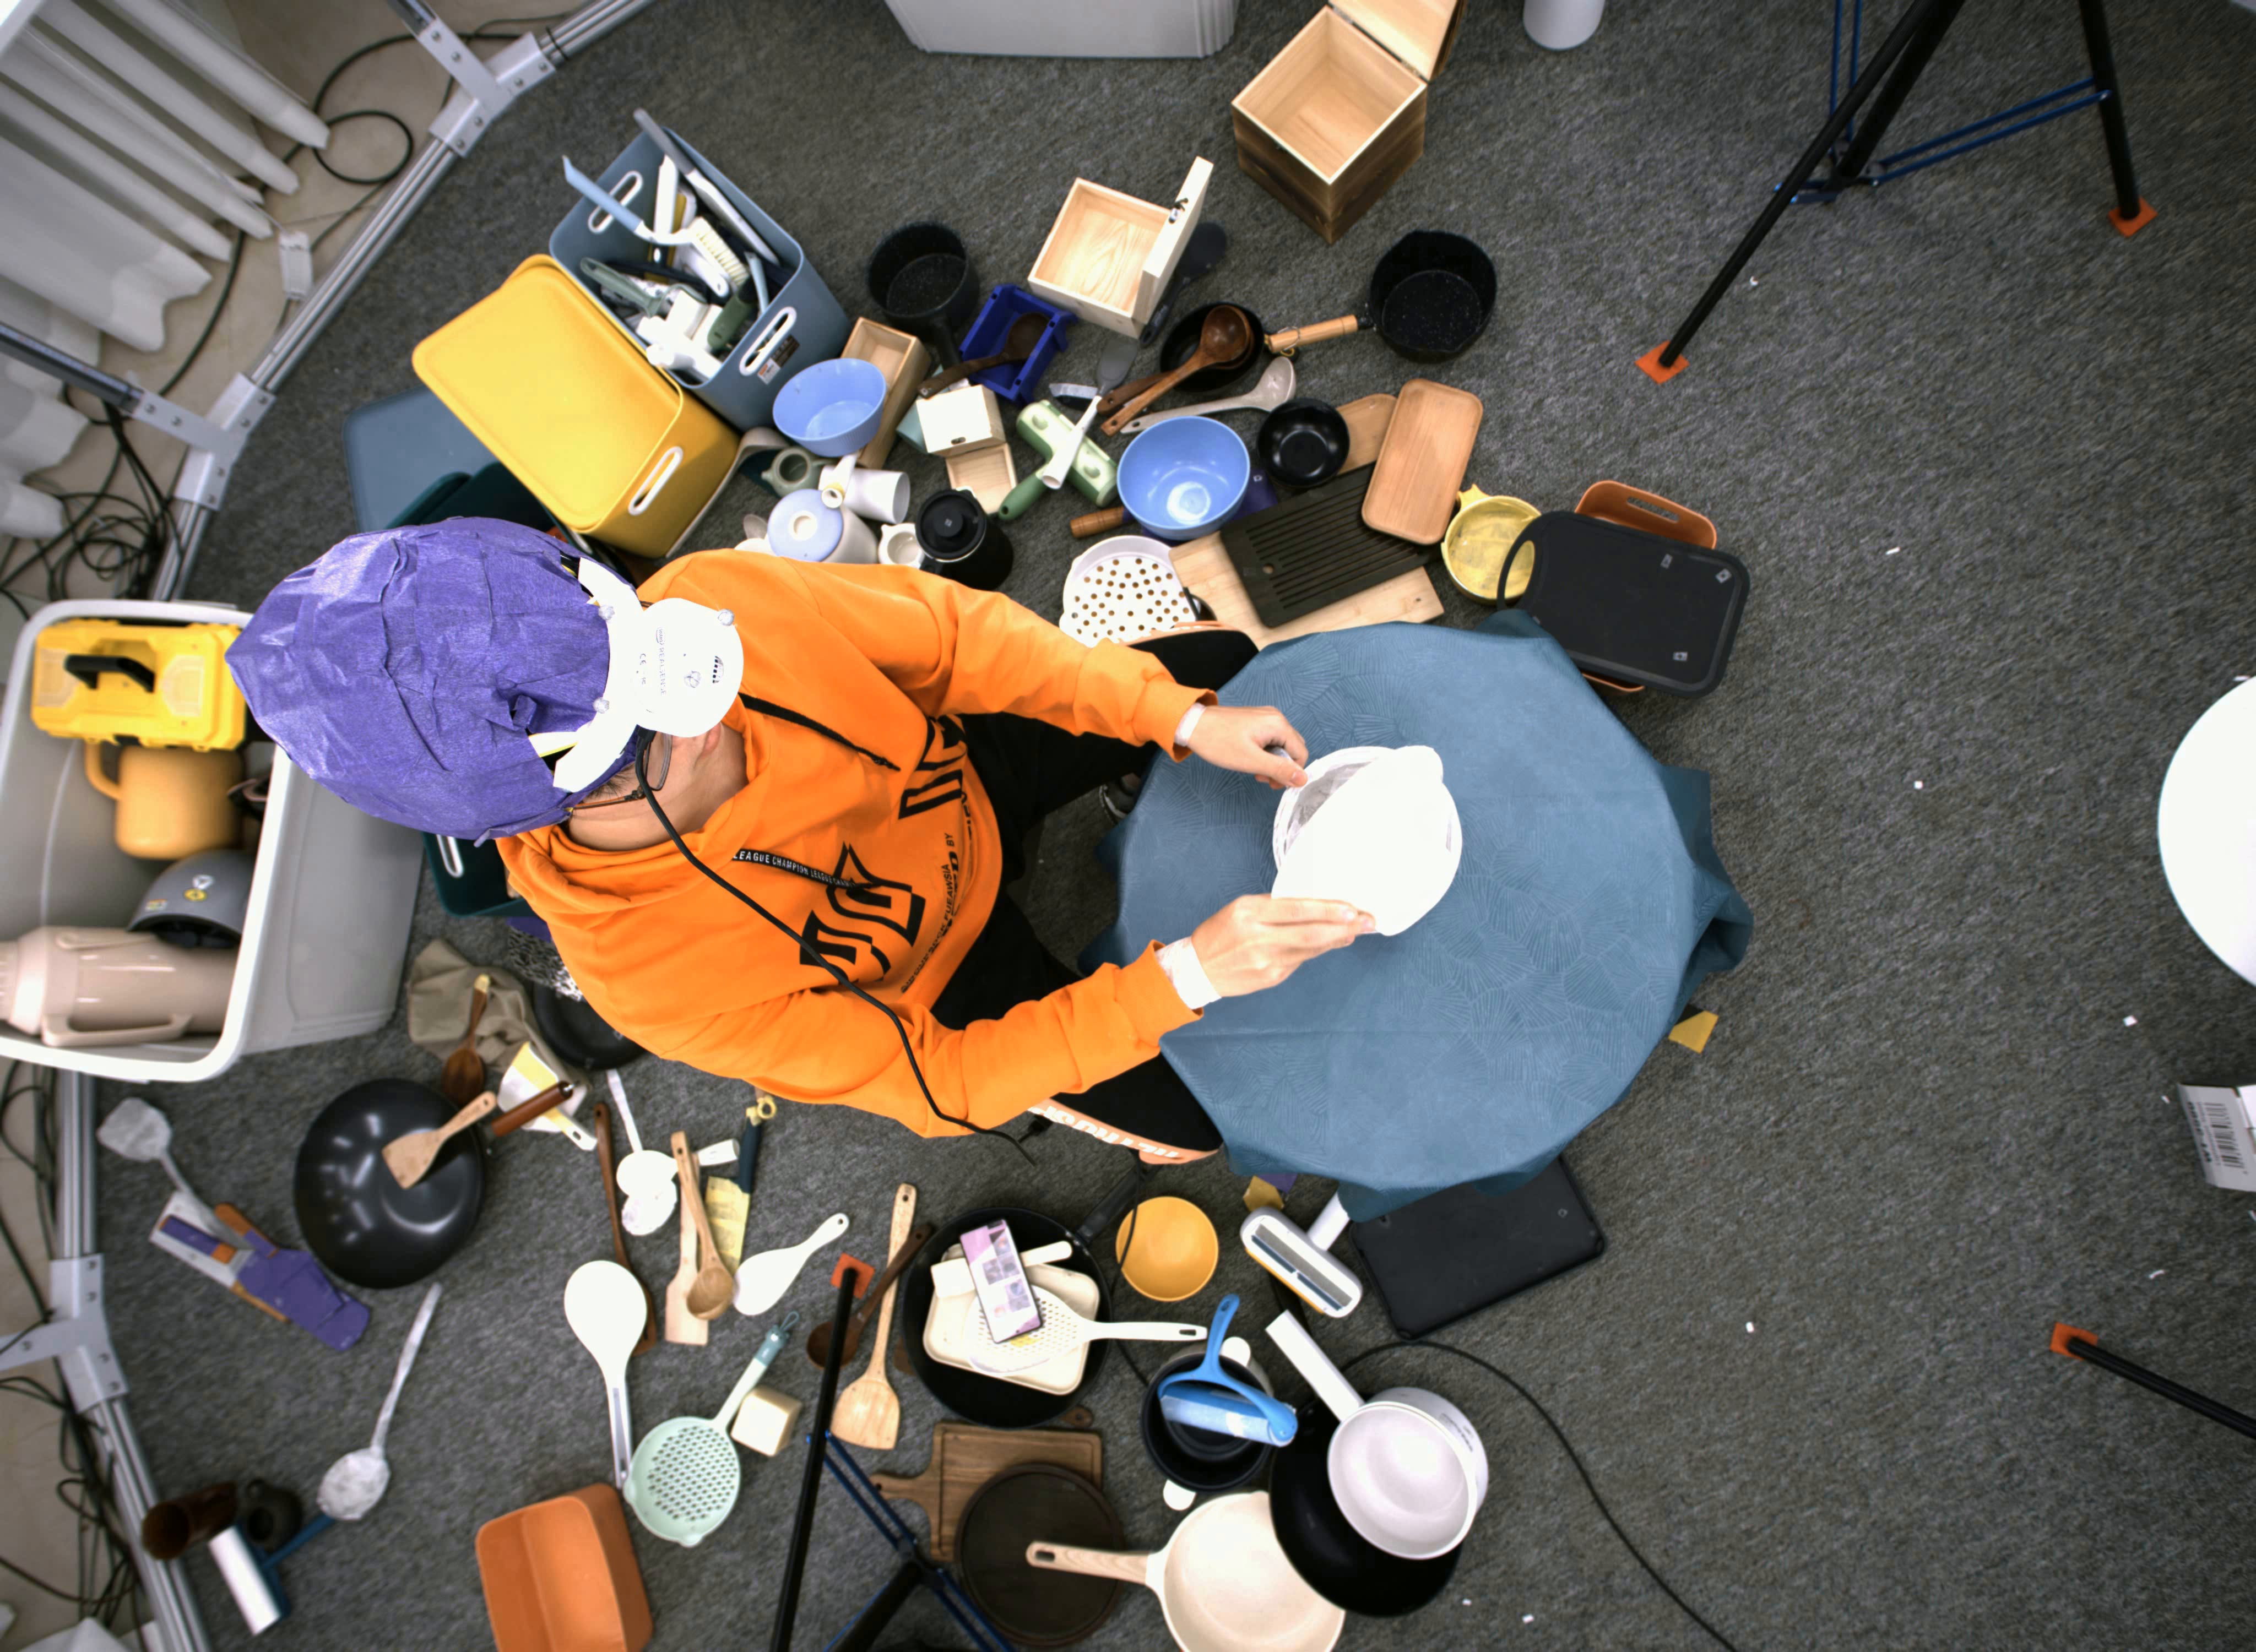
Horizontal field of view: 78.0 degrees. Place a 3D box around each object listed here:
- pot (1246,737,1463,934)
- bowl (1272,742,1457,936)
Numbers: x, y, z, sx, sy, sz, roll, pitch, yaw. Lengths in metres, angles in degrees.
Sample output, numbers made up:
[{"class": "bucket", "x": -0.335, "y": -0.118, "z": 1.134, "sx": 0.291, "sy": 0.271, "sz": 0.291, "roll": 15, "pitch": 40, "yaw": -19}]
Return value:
[{"class": "pot", "x": 0.210, "y": -0.004, "z": 1.362, "sx": 0.233, "sy": 0.136, "sz": 0.179, "roll": 40, "pitch": 94, "yaw": 4}, {"class": "bowl", "x": 0.223, "y": 0.033, "z": 1.177, "sx": 0.204, "sy": 0.206, "sz": 0.077, "roll": -49, "pitch": 58, "yaw": 3}]
